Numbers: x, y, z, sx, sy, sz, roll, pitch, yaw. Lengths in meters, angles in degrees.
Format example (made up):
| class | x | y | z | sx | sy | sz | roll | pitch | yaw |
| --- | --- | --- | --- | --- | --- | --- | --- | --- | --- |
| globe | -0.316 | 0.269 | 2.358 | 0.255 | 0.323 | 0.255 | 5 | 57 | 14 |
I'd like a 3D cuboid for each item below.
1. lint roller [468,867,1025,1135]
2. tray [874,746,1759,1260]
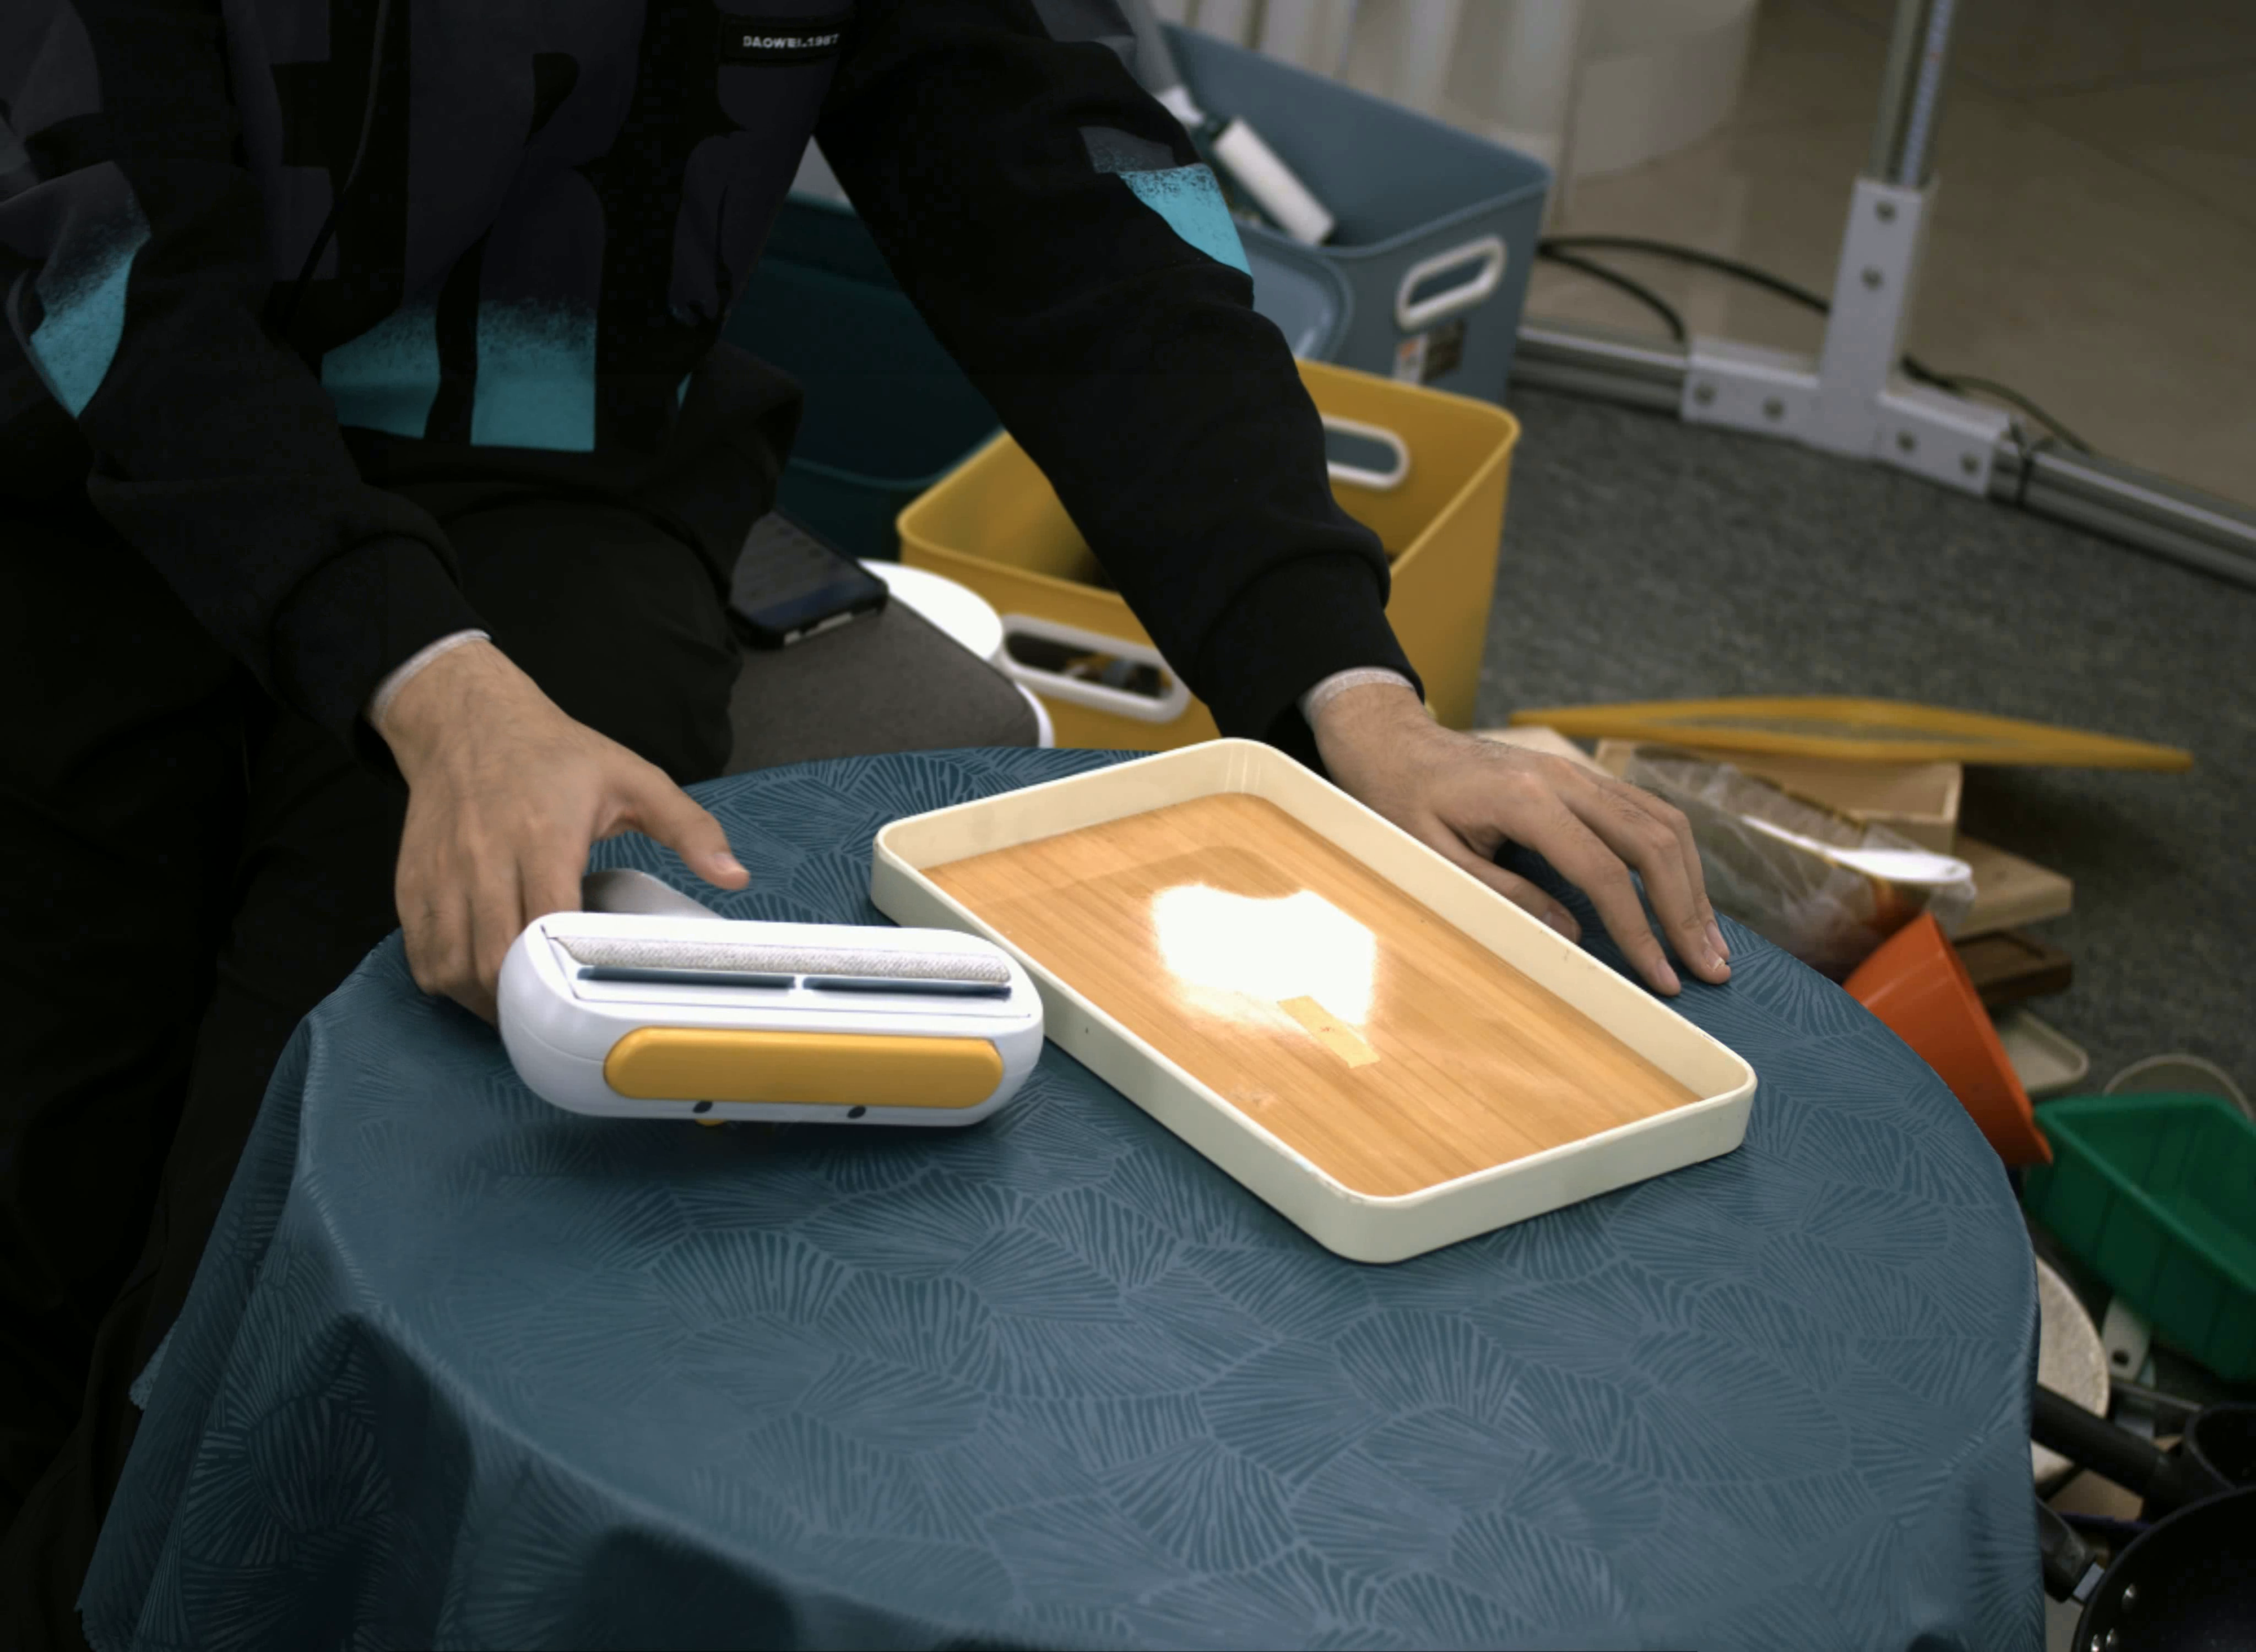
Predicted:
| class | x | y | z | sx | sy | sz | roll | pitch | yaw |
| --- | --- | --- | --- | --- | --- | --- | --- | --- | --- |
| lint roller | -0.149 | 0.047 | 1.843 | 0.191 | 0.074 | 0.194 | 1 | 25 | -23 |
| tray | 0.063 | 0.058 | 1.913 | 0.190 | 0.027 | 0.303 | -13 | 33 | -35 |
